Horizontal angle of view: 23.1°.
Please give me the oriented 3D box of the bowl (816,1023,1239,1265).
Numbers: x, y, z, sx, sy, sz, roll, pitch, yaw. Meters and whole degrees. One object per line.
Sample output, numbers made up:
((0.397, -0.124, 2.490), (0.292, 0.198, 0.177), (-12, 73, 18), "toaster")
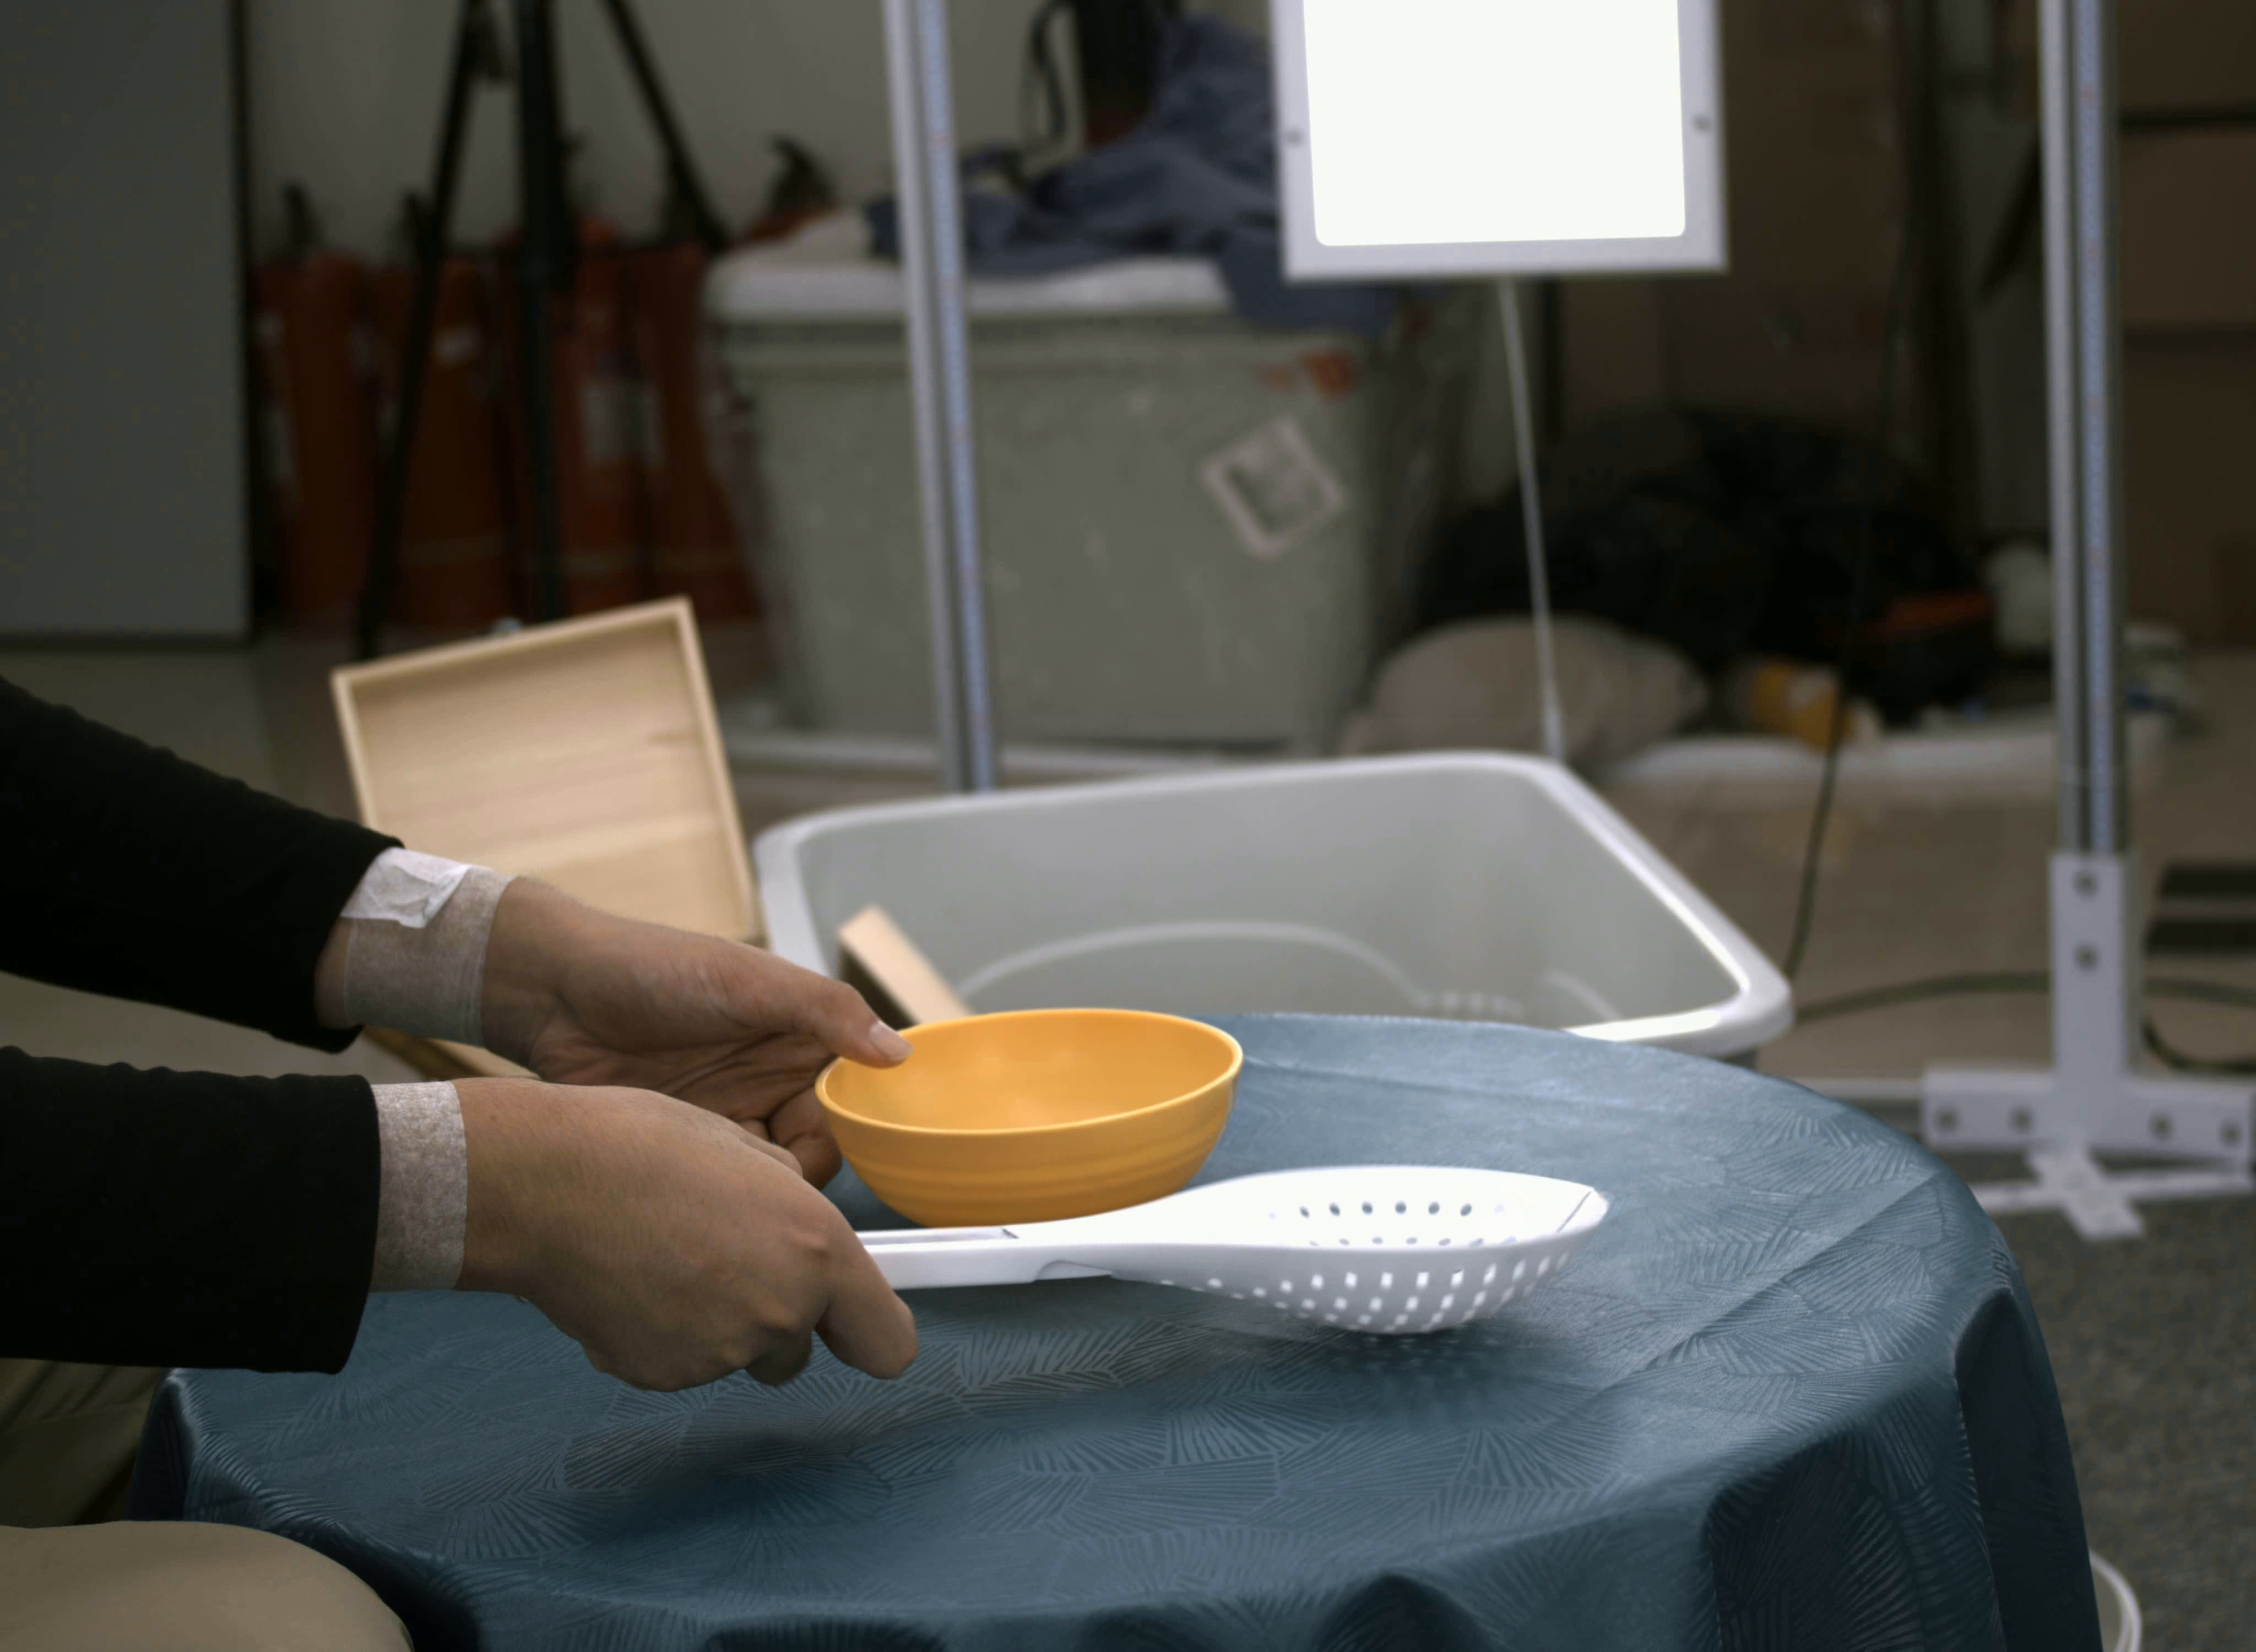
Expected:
((-0.033, 0.111, 1.857), (0.145, 0.060, 0.145), (-4, 12, -1), "bowl")

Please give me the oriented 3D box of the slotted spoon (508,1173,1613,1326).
((-0.018, 0.130, 1.705), (0.345, 0.046, 0.137), (2, 2, -14), "slotted spoon")
